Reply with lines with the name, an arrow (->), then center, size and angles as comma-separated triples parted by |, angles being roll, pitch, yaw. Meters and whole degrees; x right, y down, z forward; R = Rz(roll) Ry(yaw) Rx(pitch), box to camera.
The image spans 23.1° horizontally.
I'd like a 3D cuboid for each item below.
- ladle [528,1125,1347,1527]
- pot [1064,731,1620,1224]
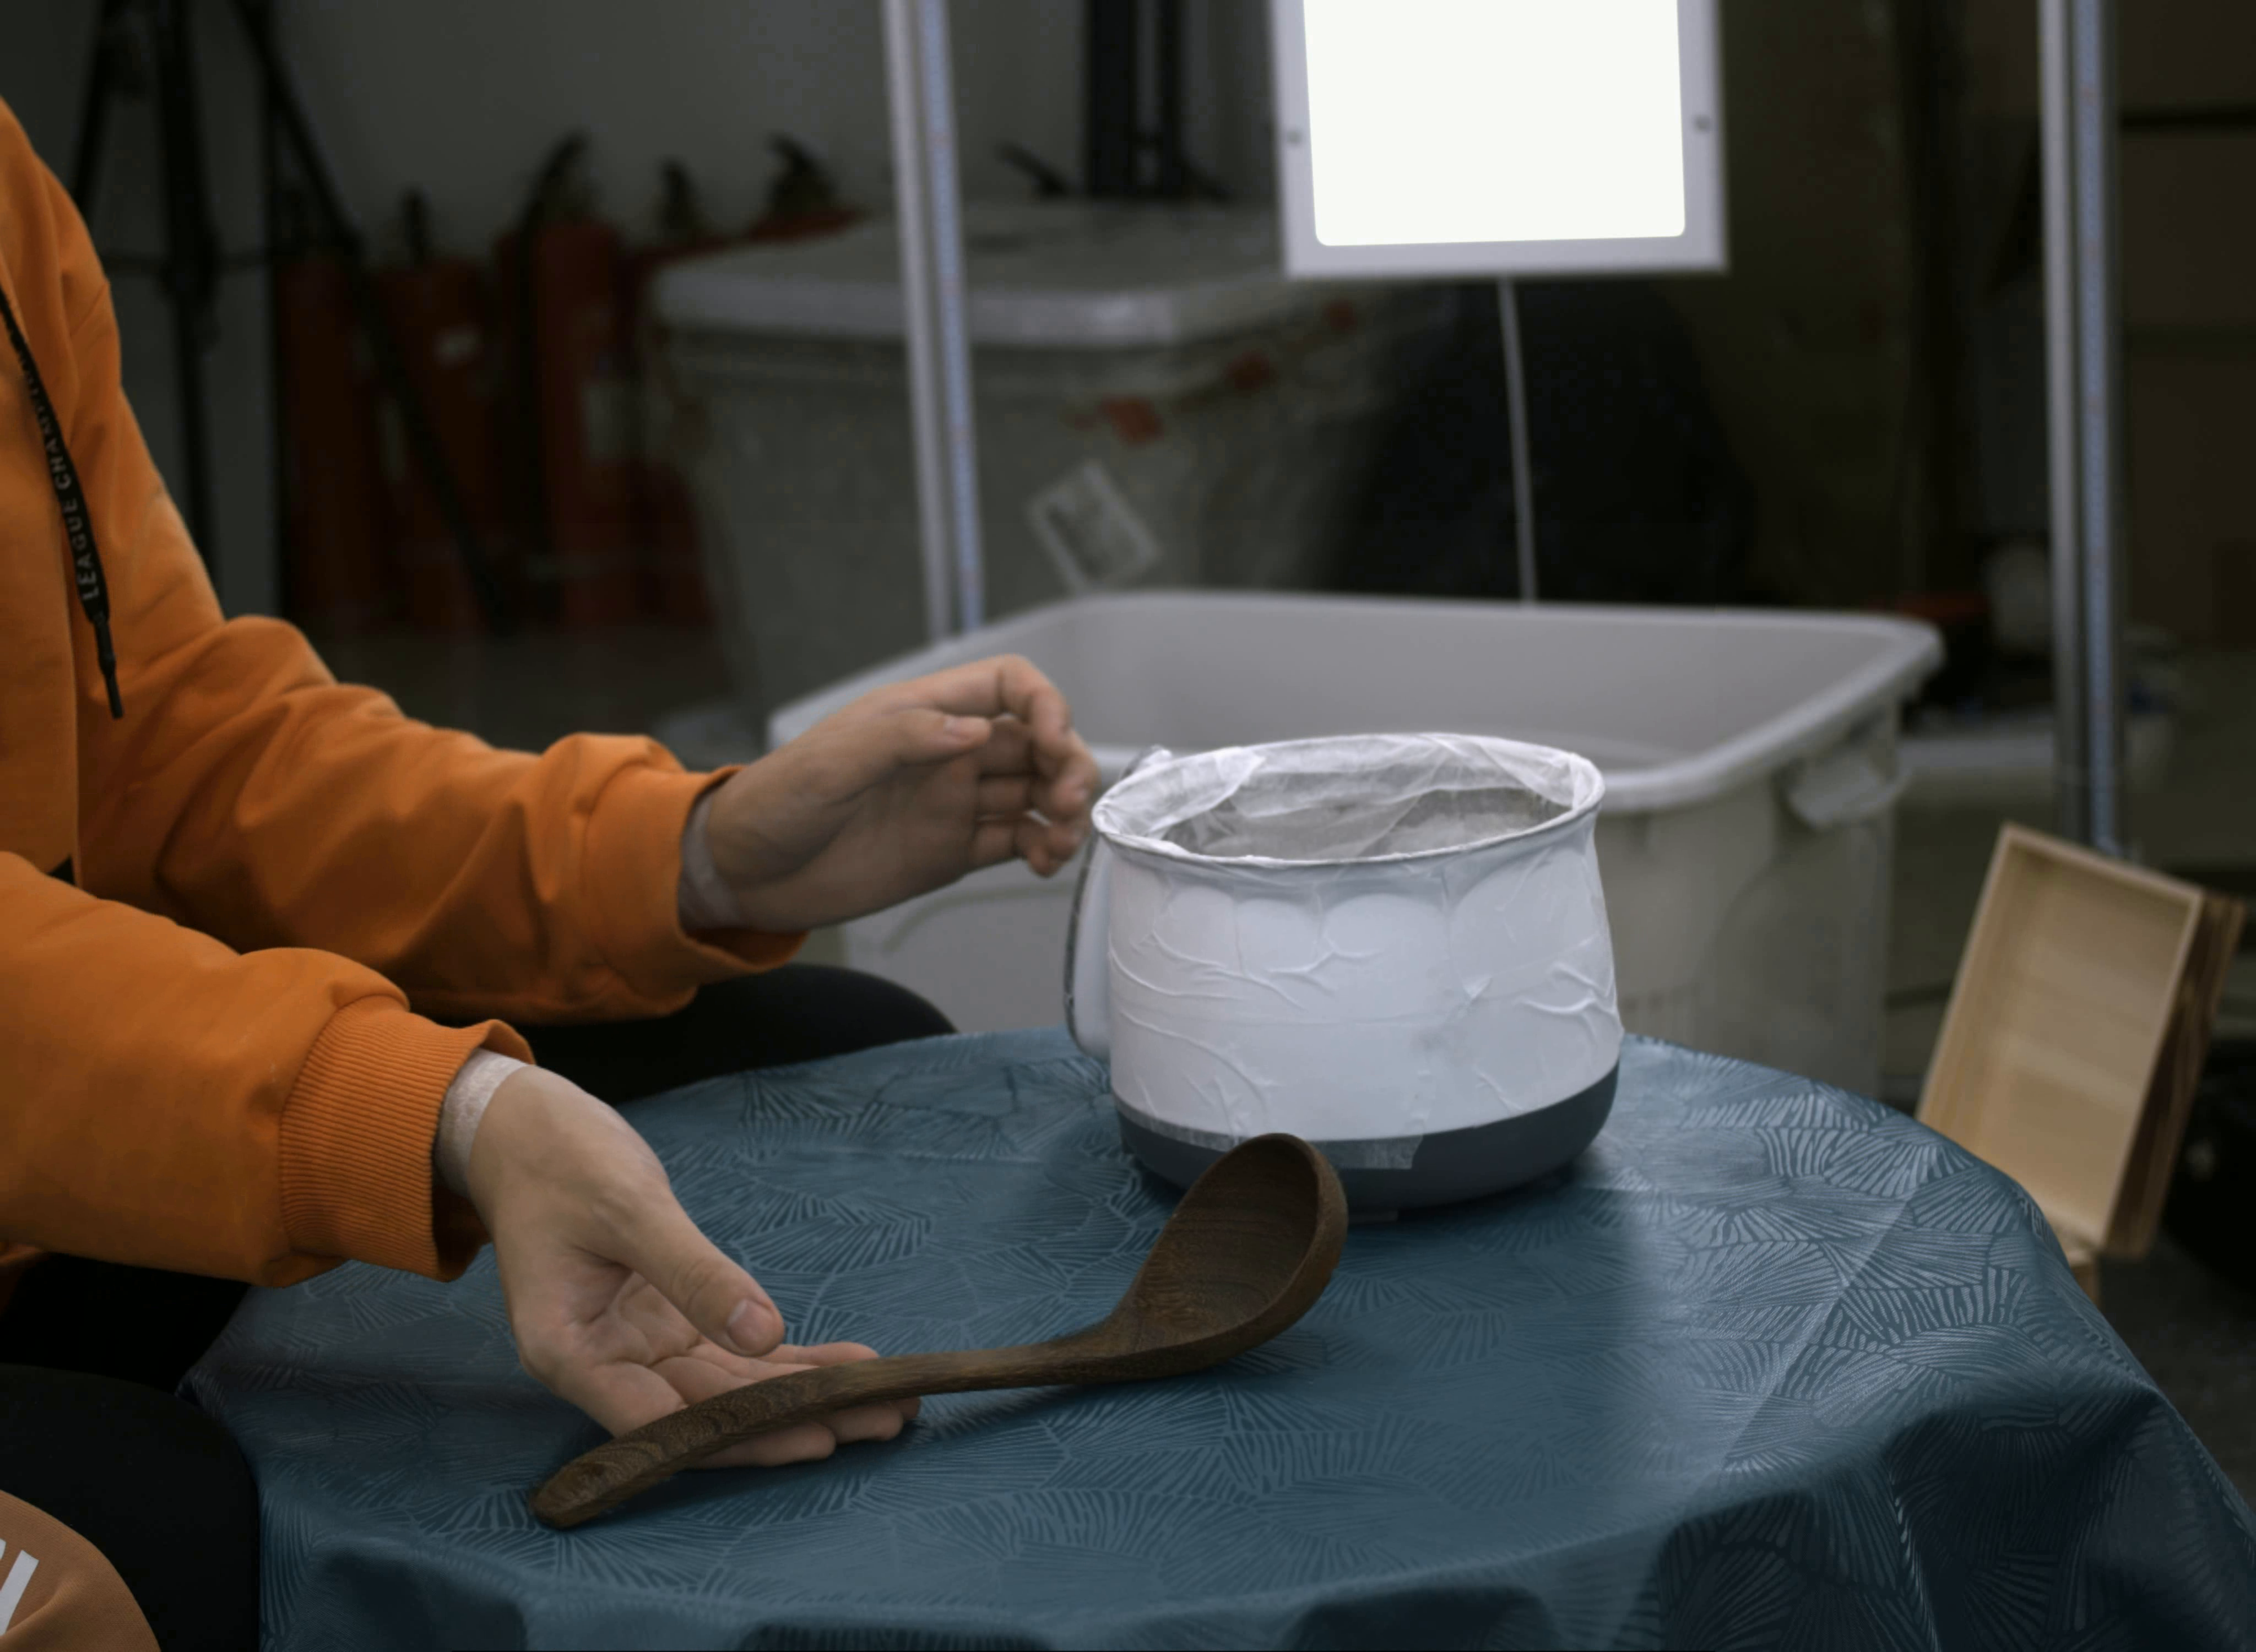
ladle -> -0.057, 0.149, 1.678 | 0.268, 0.071, 0.077 | -11, 14, -24
pot -> 0.061, 0.046, 1.911 | 0.174, 0.137, 0.239 | -16, 18, -39
